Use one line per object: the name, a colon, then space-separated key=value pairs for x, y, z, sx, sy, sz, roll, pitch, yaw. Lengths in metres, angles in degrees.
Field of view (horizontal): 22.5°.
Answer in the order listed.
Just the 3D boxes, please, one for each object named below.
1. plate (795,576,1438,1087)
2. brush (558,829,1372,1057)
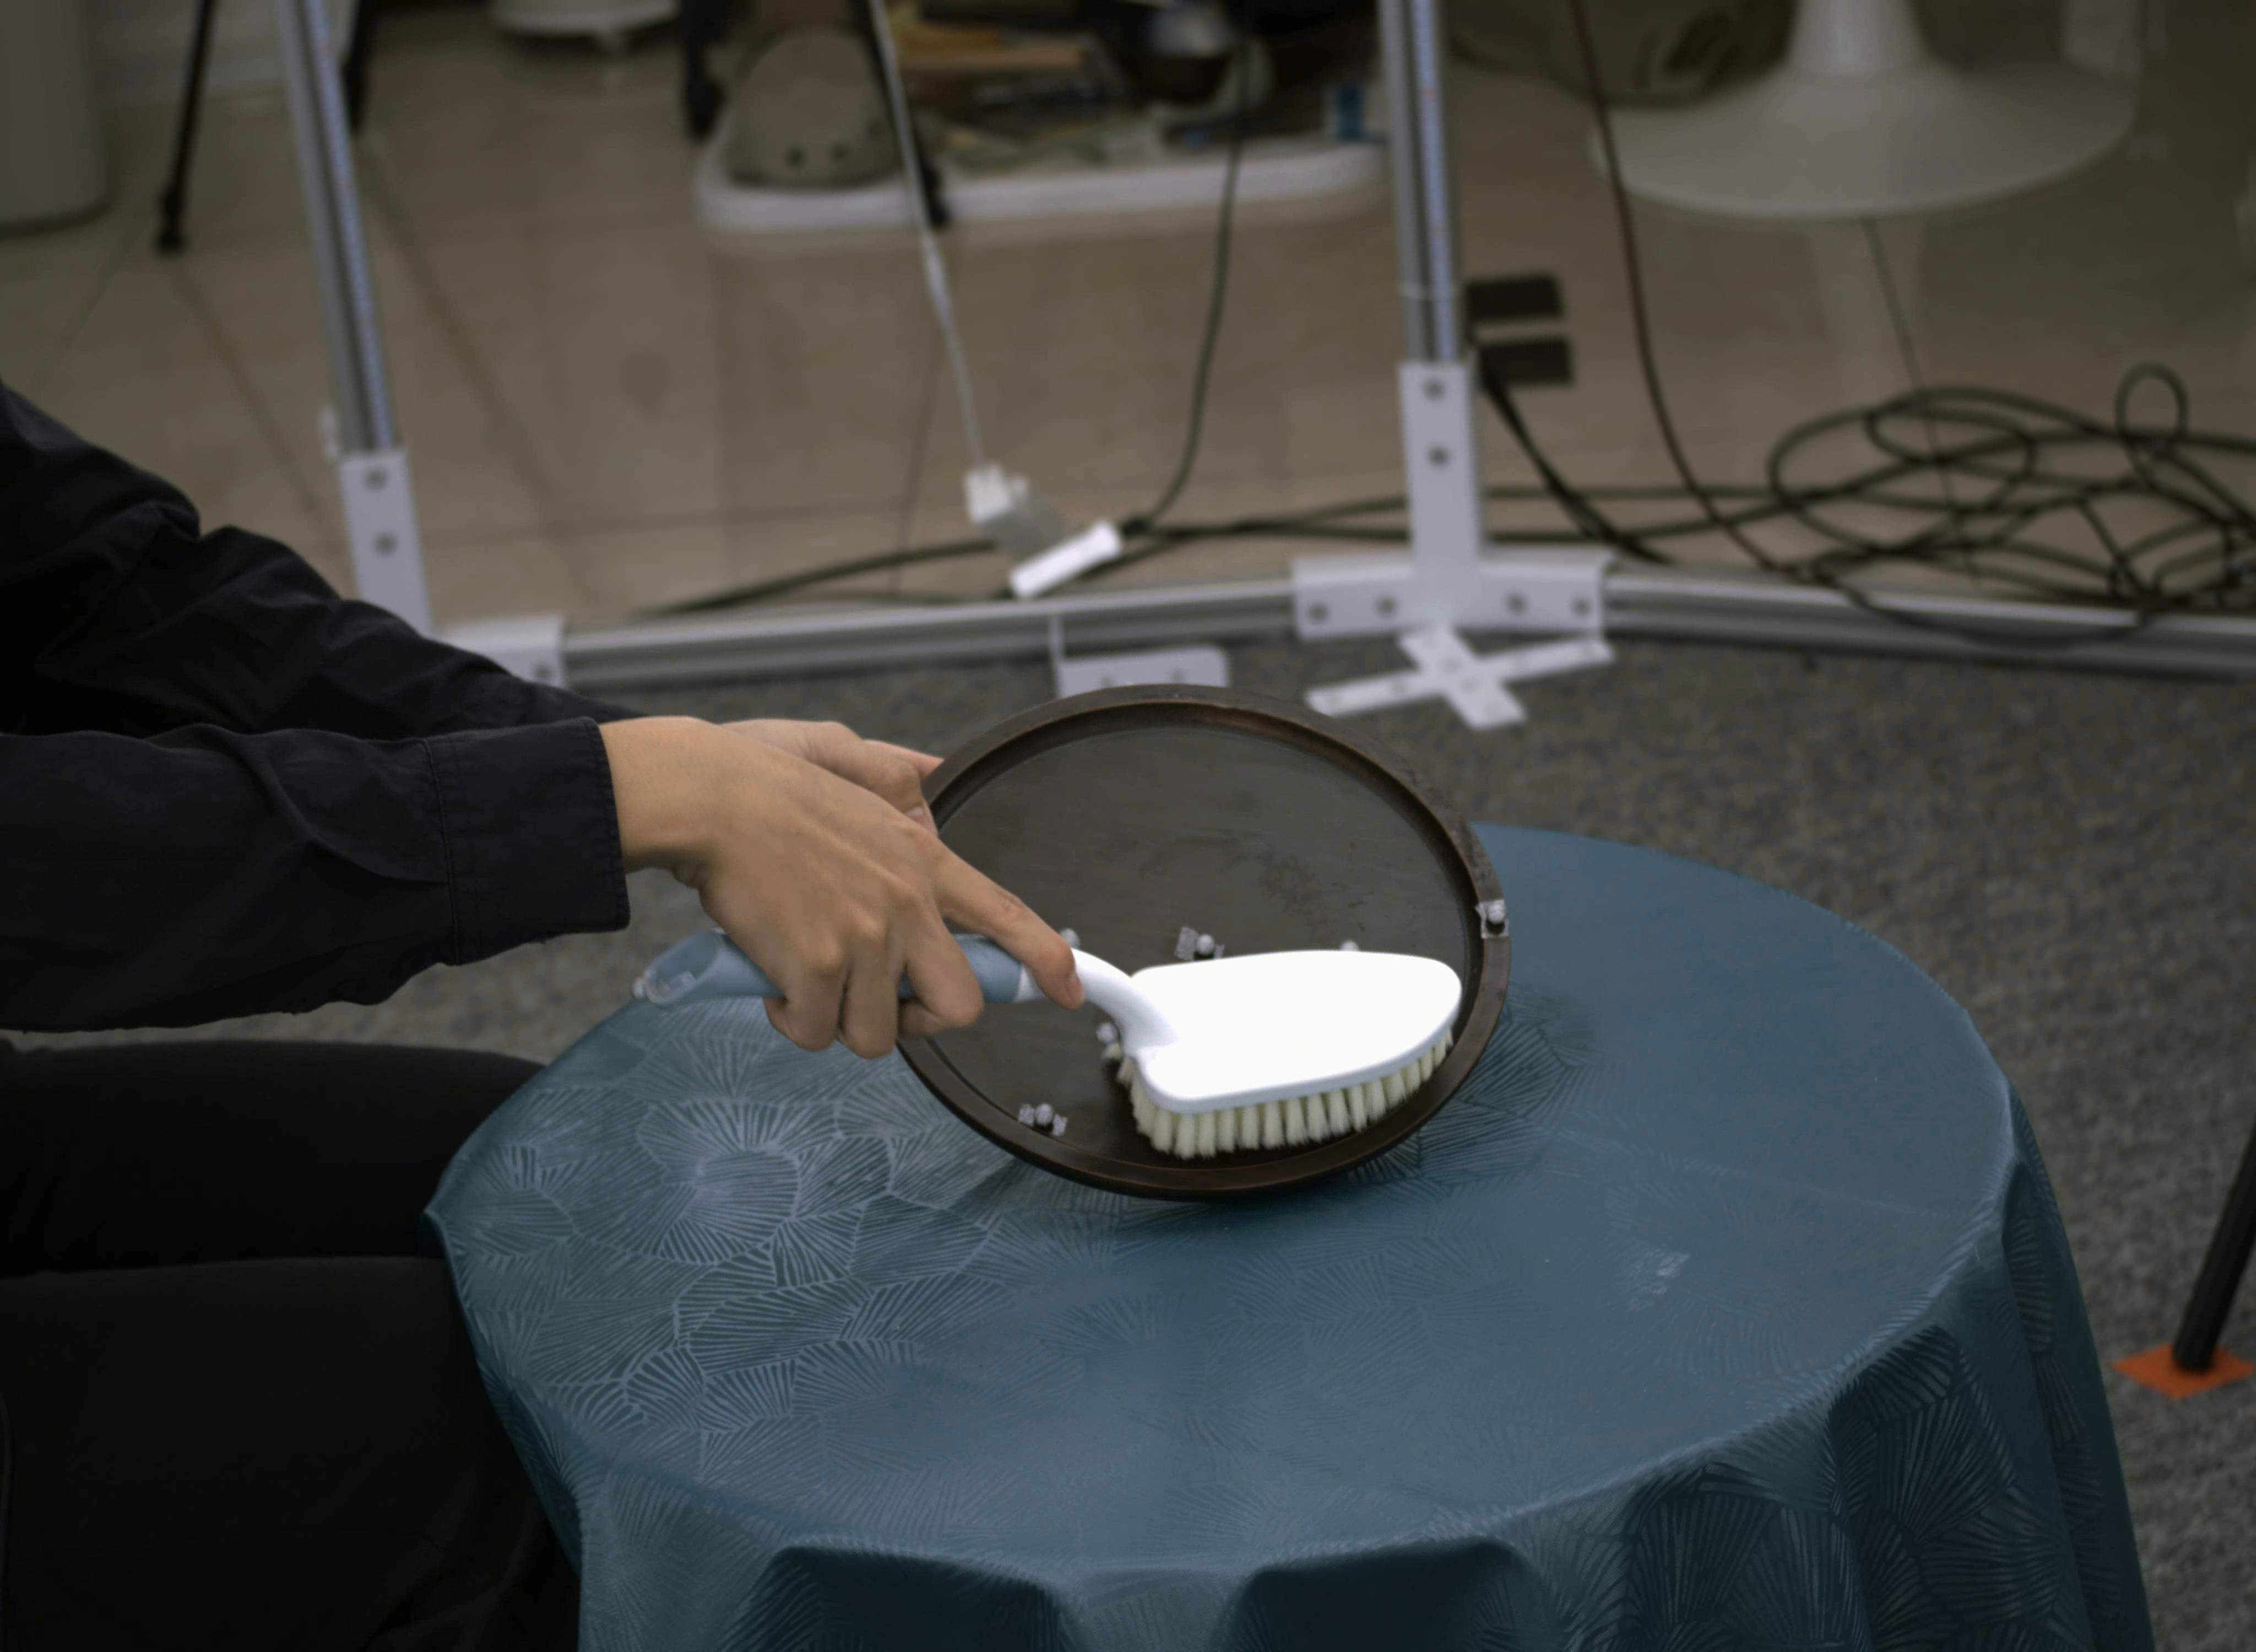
plate: x=-0.005 y=0.001 z=2.227 sx=0.254 sy=0.029 sz=0.250 roll=2 pitch=53 yaw=-2
brush: x=-0.064 y=0.042 z=2.131 sx=0.325 sy=0.085 sz=0.082 roll=2 pitch=11 yaw=-22
